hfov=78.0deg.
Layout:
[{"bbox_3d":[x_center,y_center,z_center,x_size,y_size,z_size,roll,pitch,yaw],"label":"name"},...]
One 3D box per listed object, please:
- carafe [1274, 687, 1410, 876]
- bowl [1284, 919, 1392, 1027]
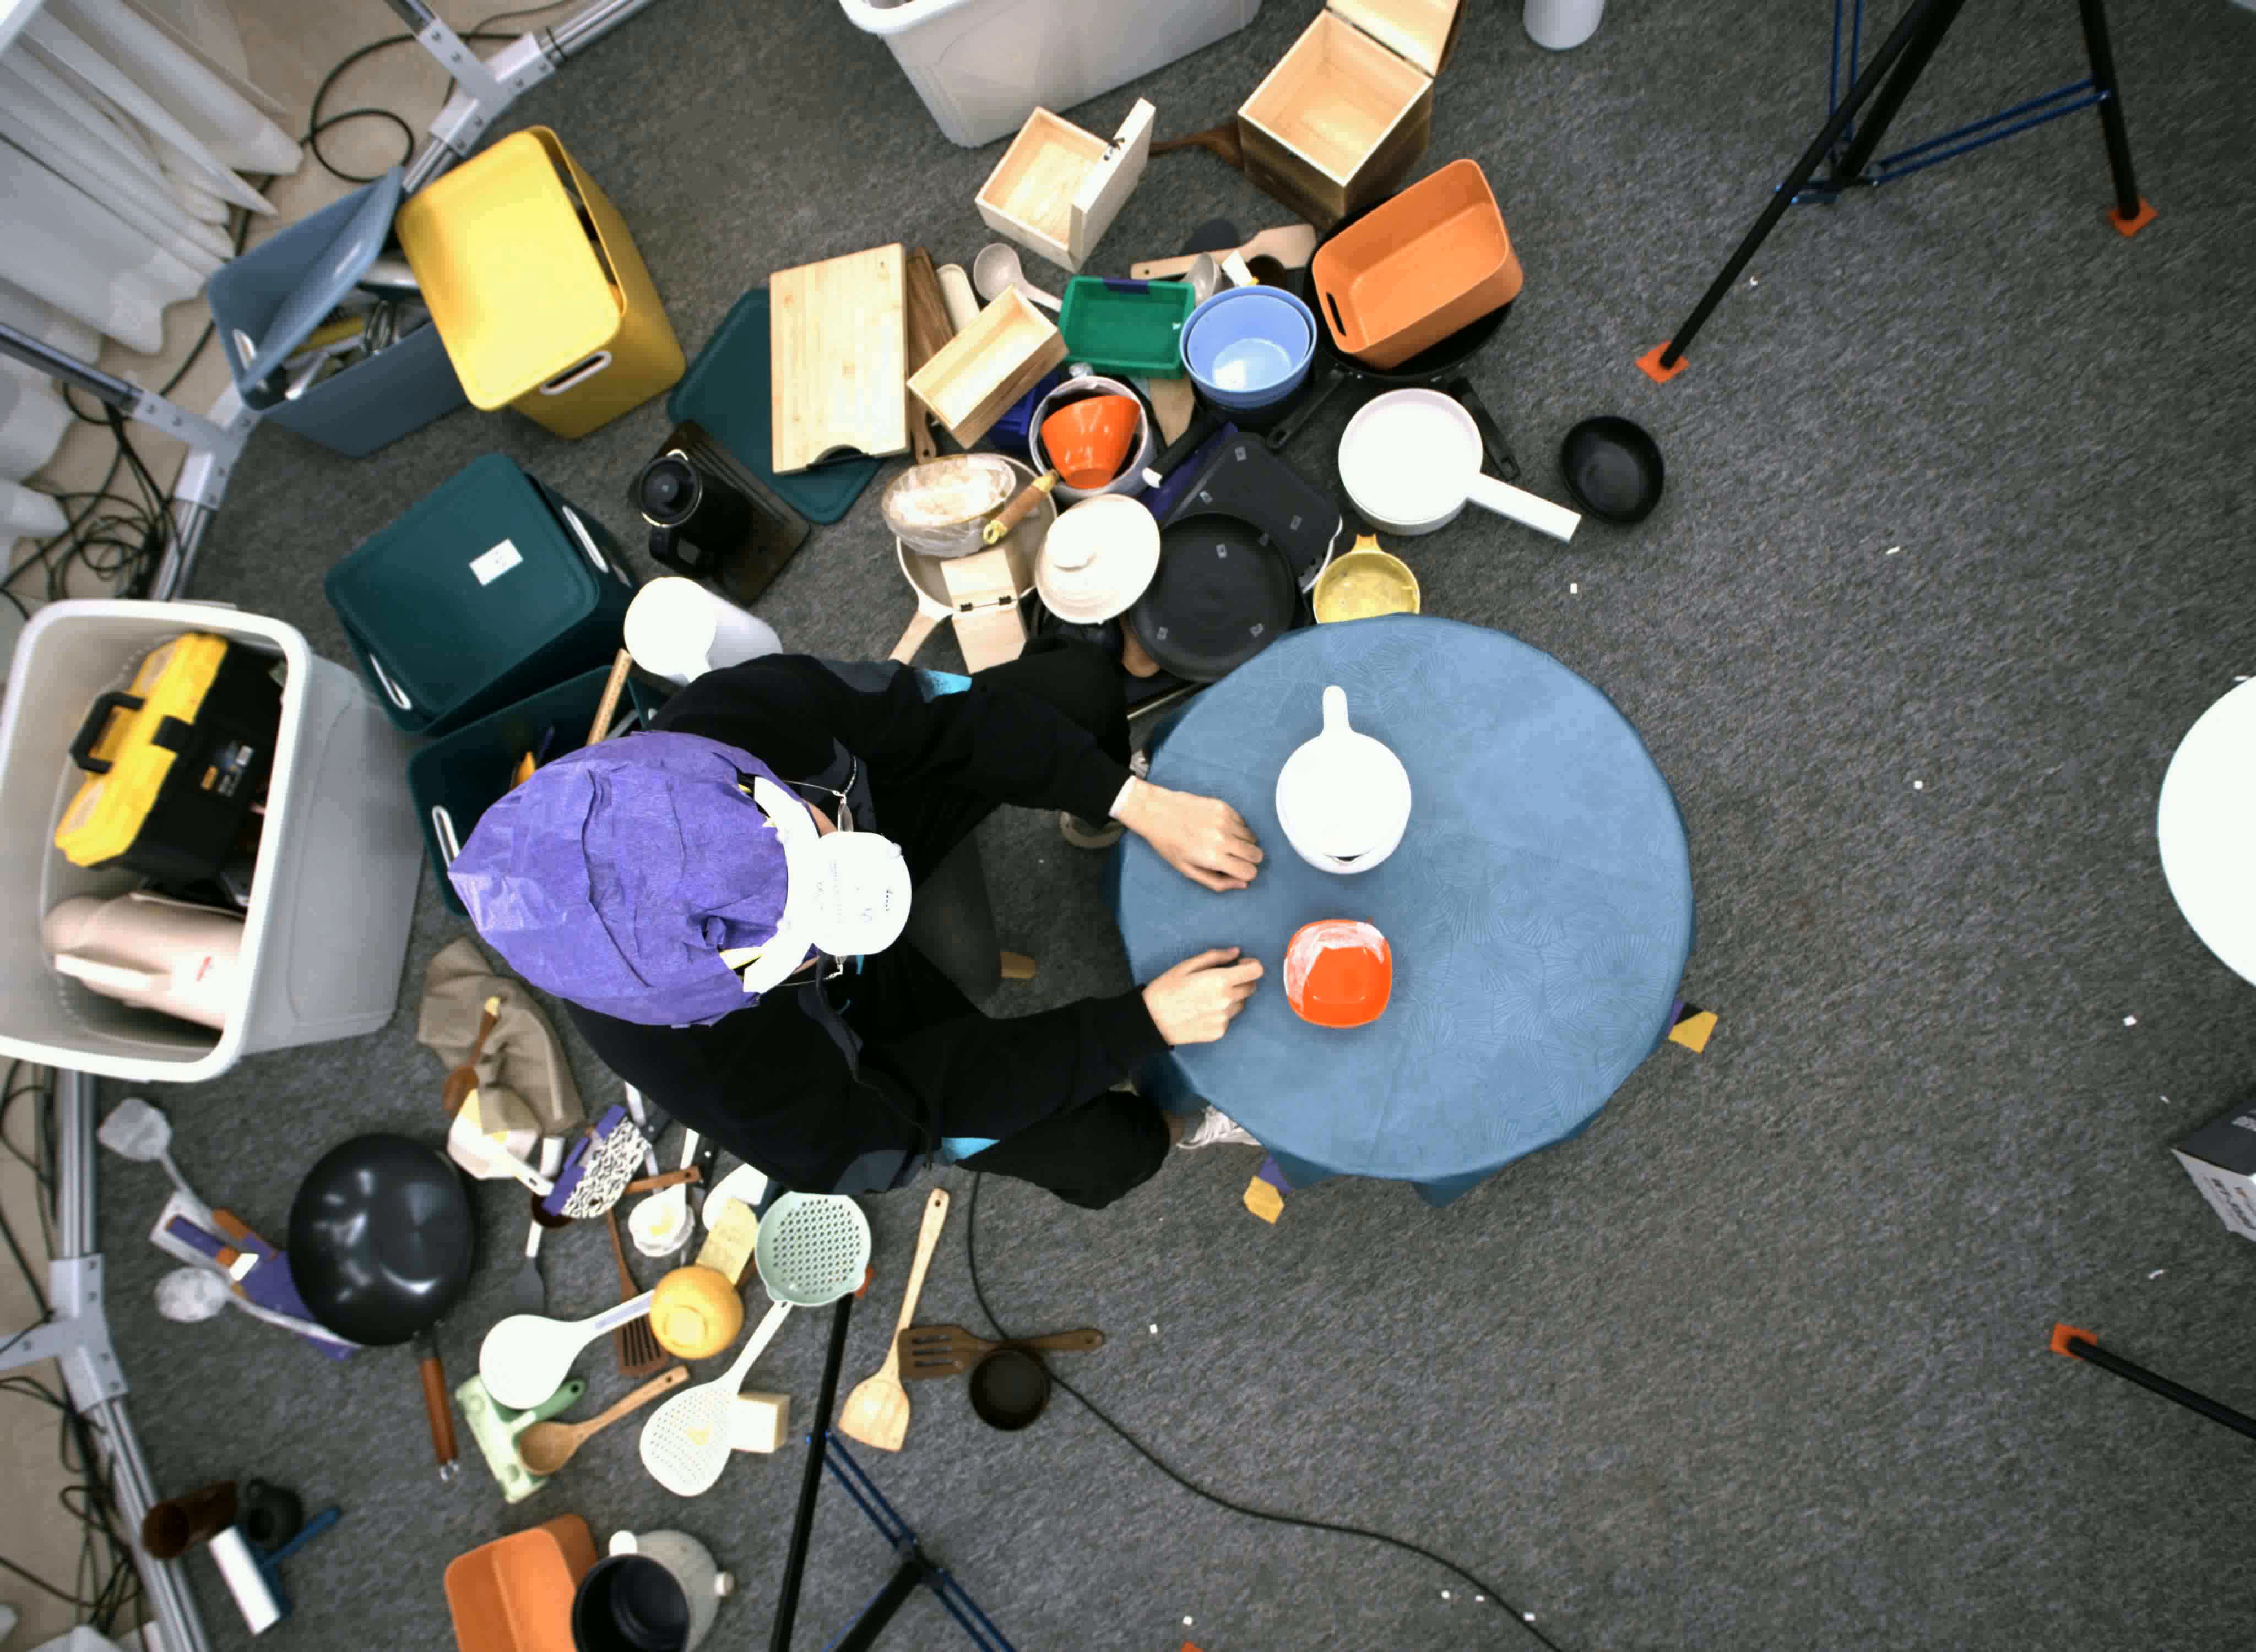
[{"bbox_3d":[0.212,-0.046,1.386,0.133,0.183,0.189,-7,82,8],"label":"carafe"},{"bbox_3d":[0.217,0.150,1.434,0.119,0.051,0.118,0,89,8],"label":"bowl"}]
